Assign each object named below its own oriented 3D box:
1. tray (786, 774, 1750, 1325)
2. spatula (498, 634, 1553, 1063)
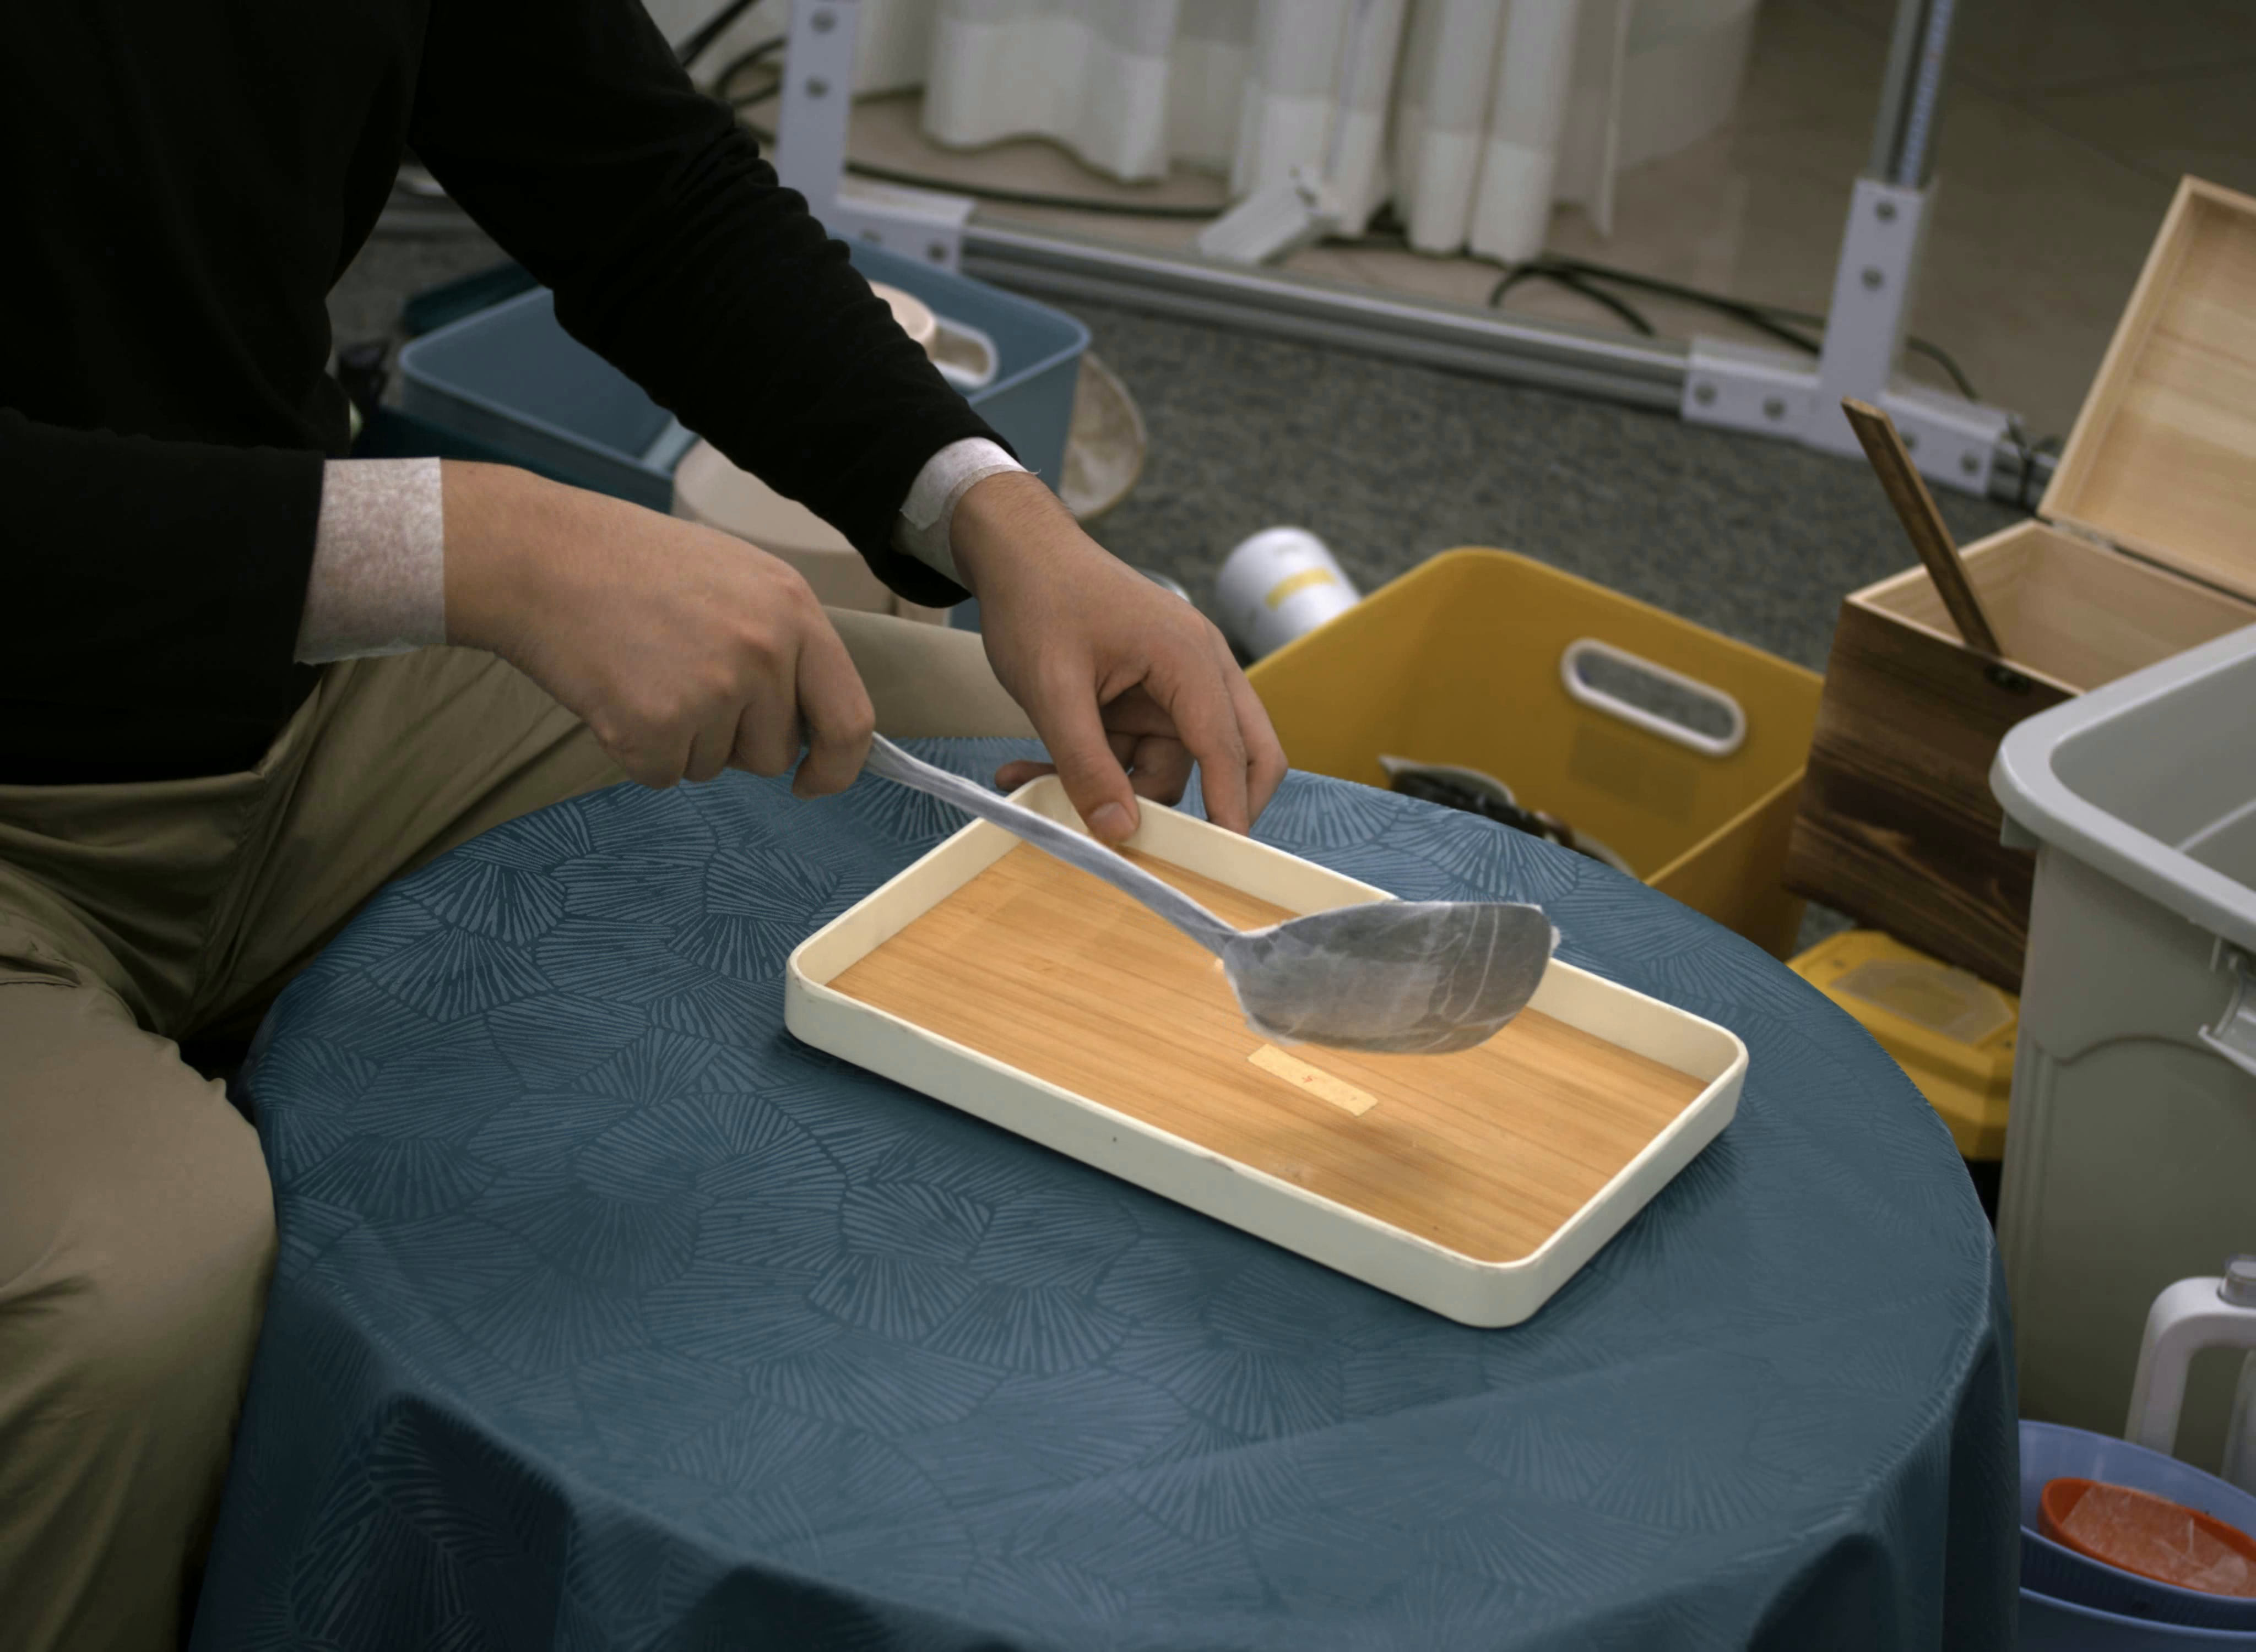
[{"bbox_3d":[0.048,0.073,1.868,0.302,0.027,0.191,22,33,26],"label":"tray"},{"bbox_3d":[-0.034,-0.002,1.775,0.364,0.098,0.045,24,50,-3],"label":"spatula"}]
